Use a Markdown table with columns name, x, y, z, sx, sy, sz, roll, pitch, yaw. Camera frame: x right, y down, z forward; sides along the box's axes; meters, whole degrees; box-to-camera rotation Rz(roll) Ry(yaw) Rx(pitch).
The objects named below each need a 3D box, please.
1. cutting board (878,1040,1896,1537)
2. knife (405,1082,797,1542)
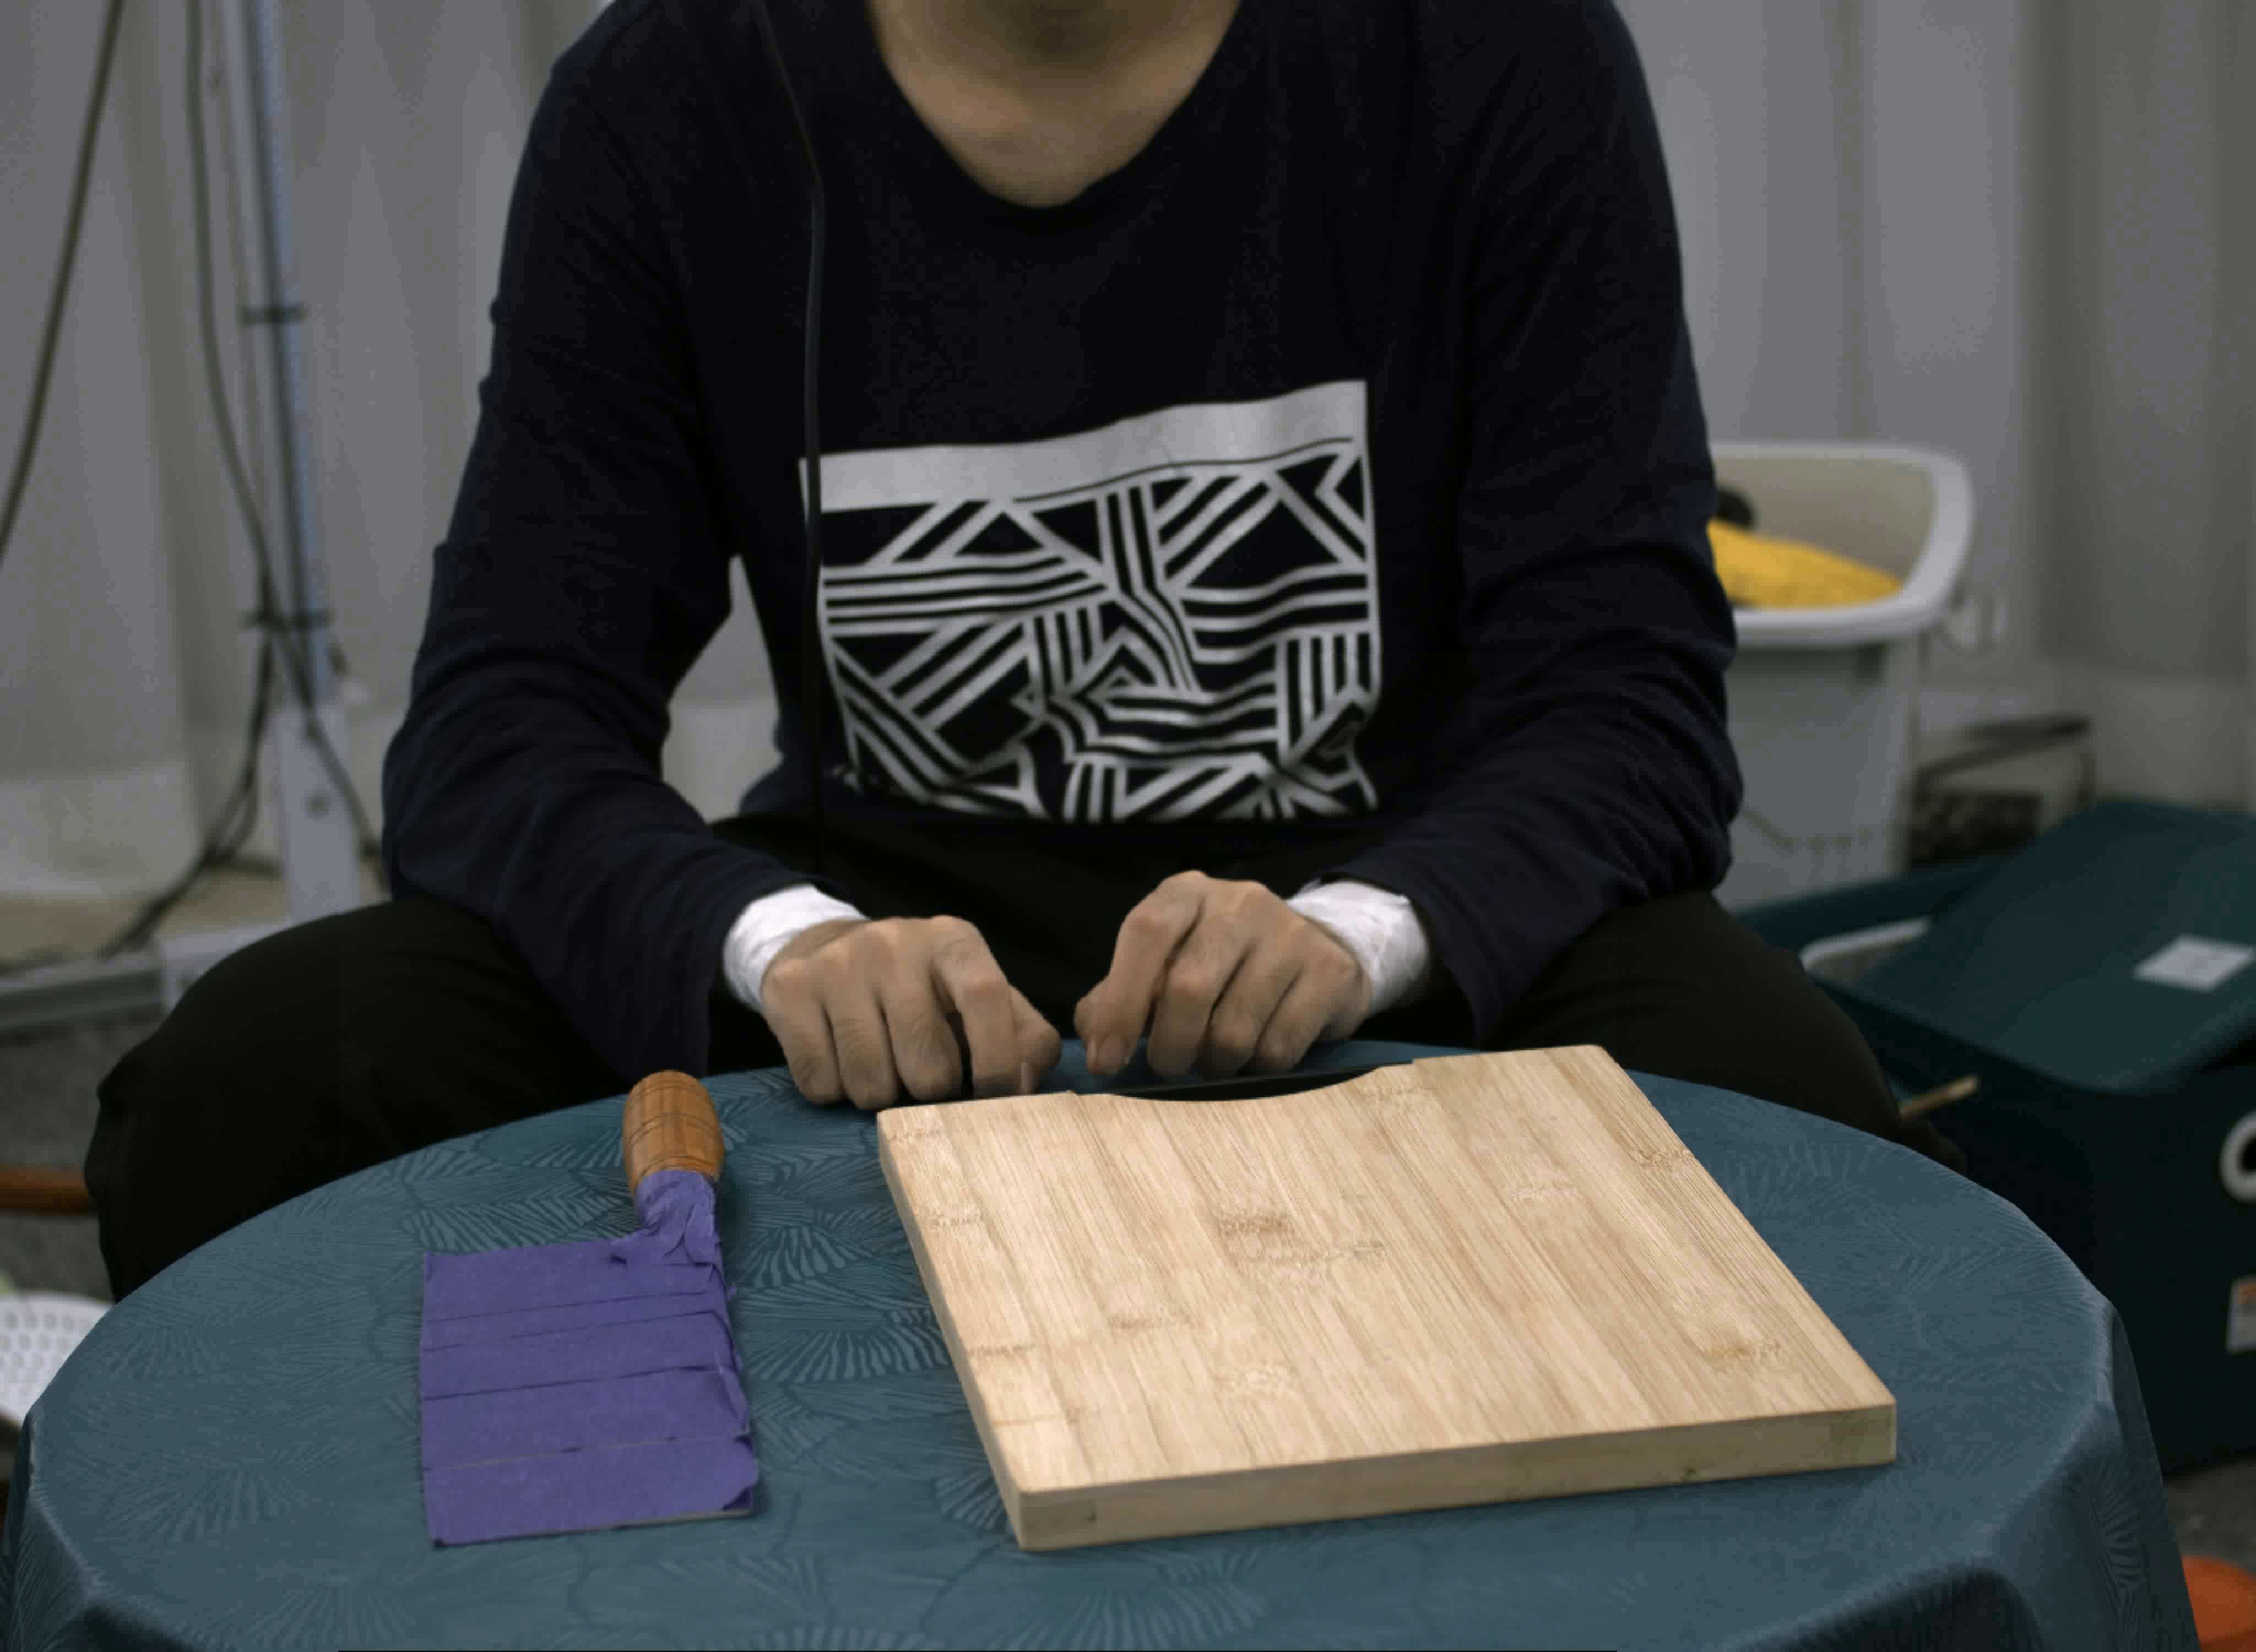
| name | x | y | z | sx | sy | sz | roll | pitch | yaw |
| --- | --- | --- | --- | --- | --- | --- | --- | --- | --- |
| cutting board | 0.063 | 0.131 | 1.614 | 0.249 | 0.023 | 0.351 | -5 | 15 | -8 |
| knife | -0.161 | 0.138 | 1.606 | 0.103 | 0.032 | 0.317 | -4 | 15 | -7 |
